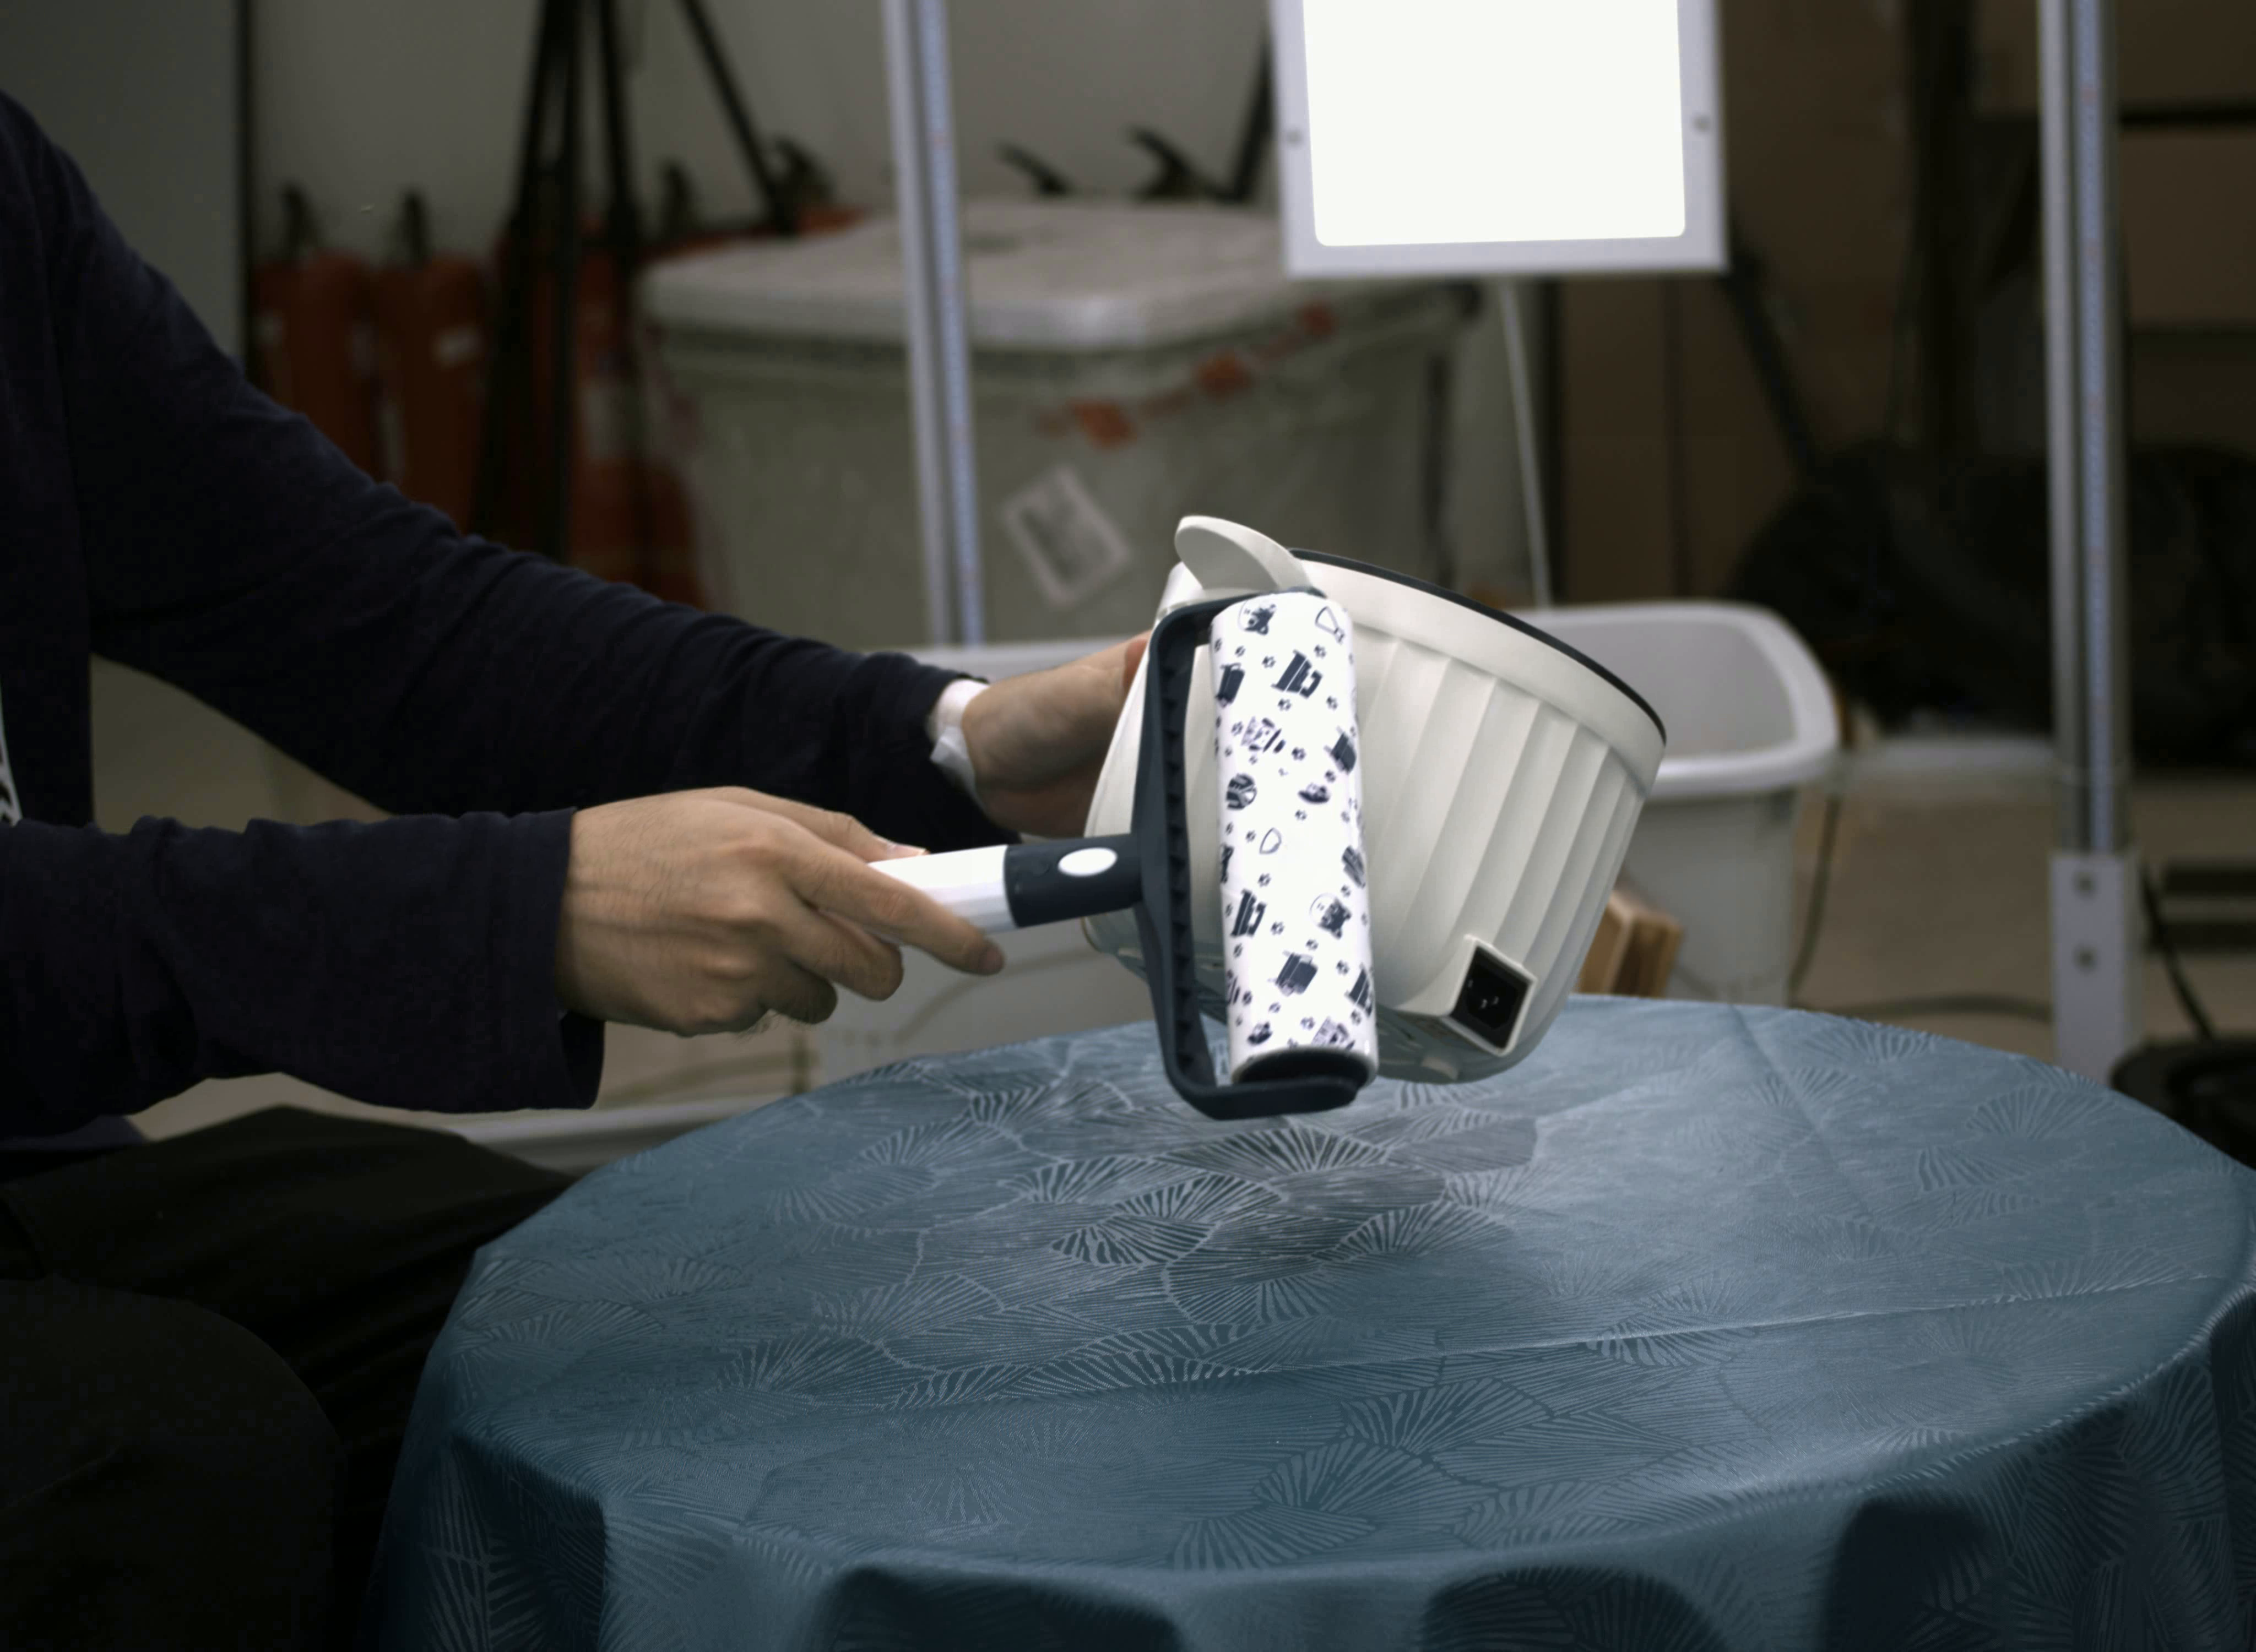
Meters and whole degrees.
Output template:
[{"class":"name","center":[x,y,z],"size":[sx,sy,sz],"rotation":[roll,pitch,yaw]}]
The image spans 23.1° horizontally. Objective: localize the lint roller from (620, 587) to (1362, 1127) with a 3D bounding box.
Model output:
[{"class":"lint roller","center":[-0.049,0.023,1.774],"size":[0.249,0.176,0.050],"rotation":[-9,-25,14]}]

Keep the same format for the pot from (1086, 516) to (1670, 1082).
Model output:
[{"class":"pot","center":[0.074,0.001,1.882],"size":[0.194,0.142,0.236],"rotation":[11,-16,47]}]
